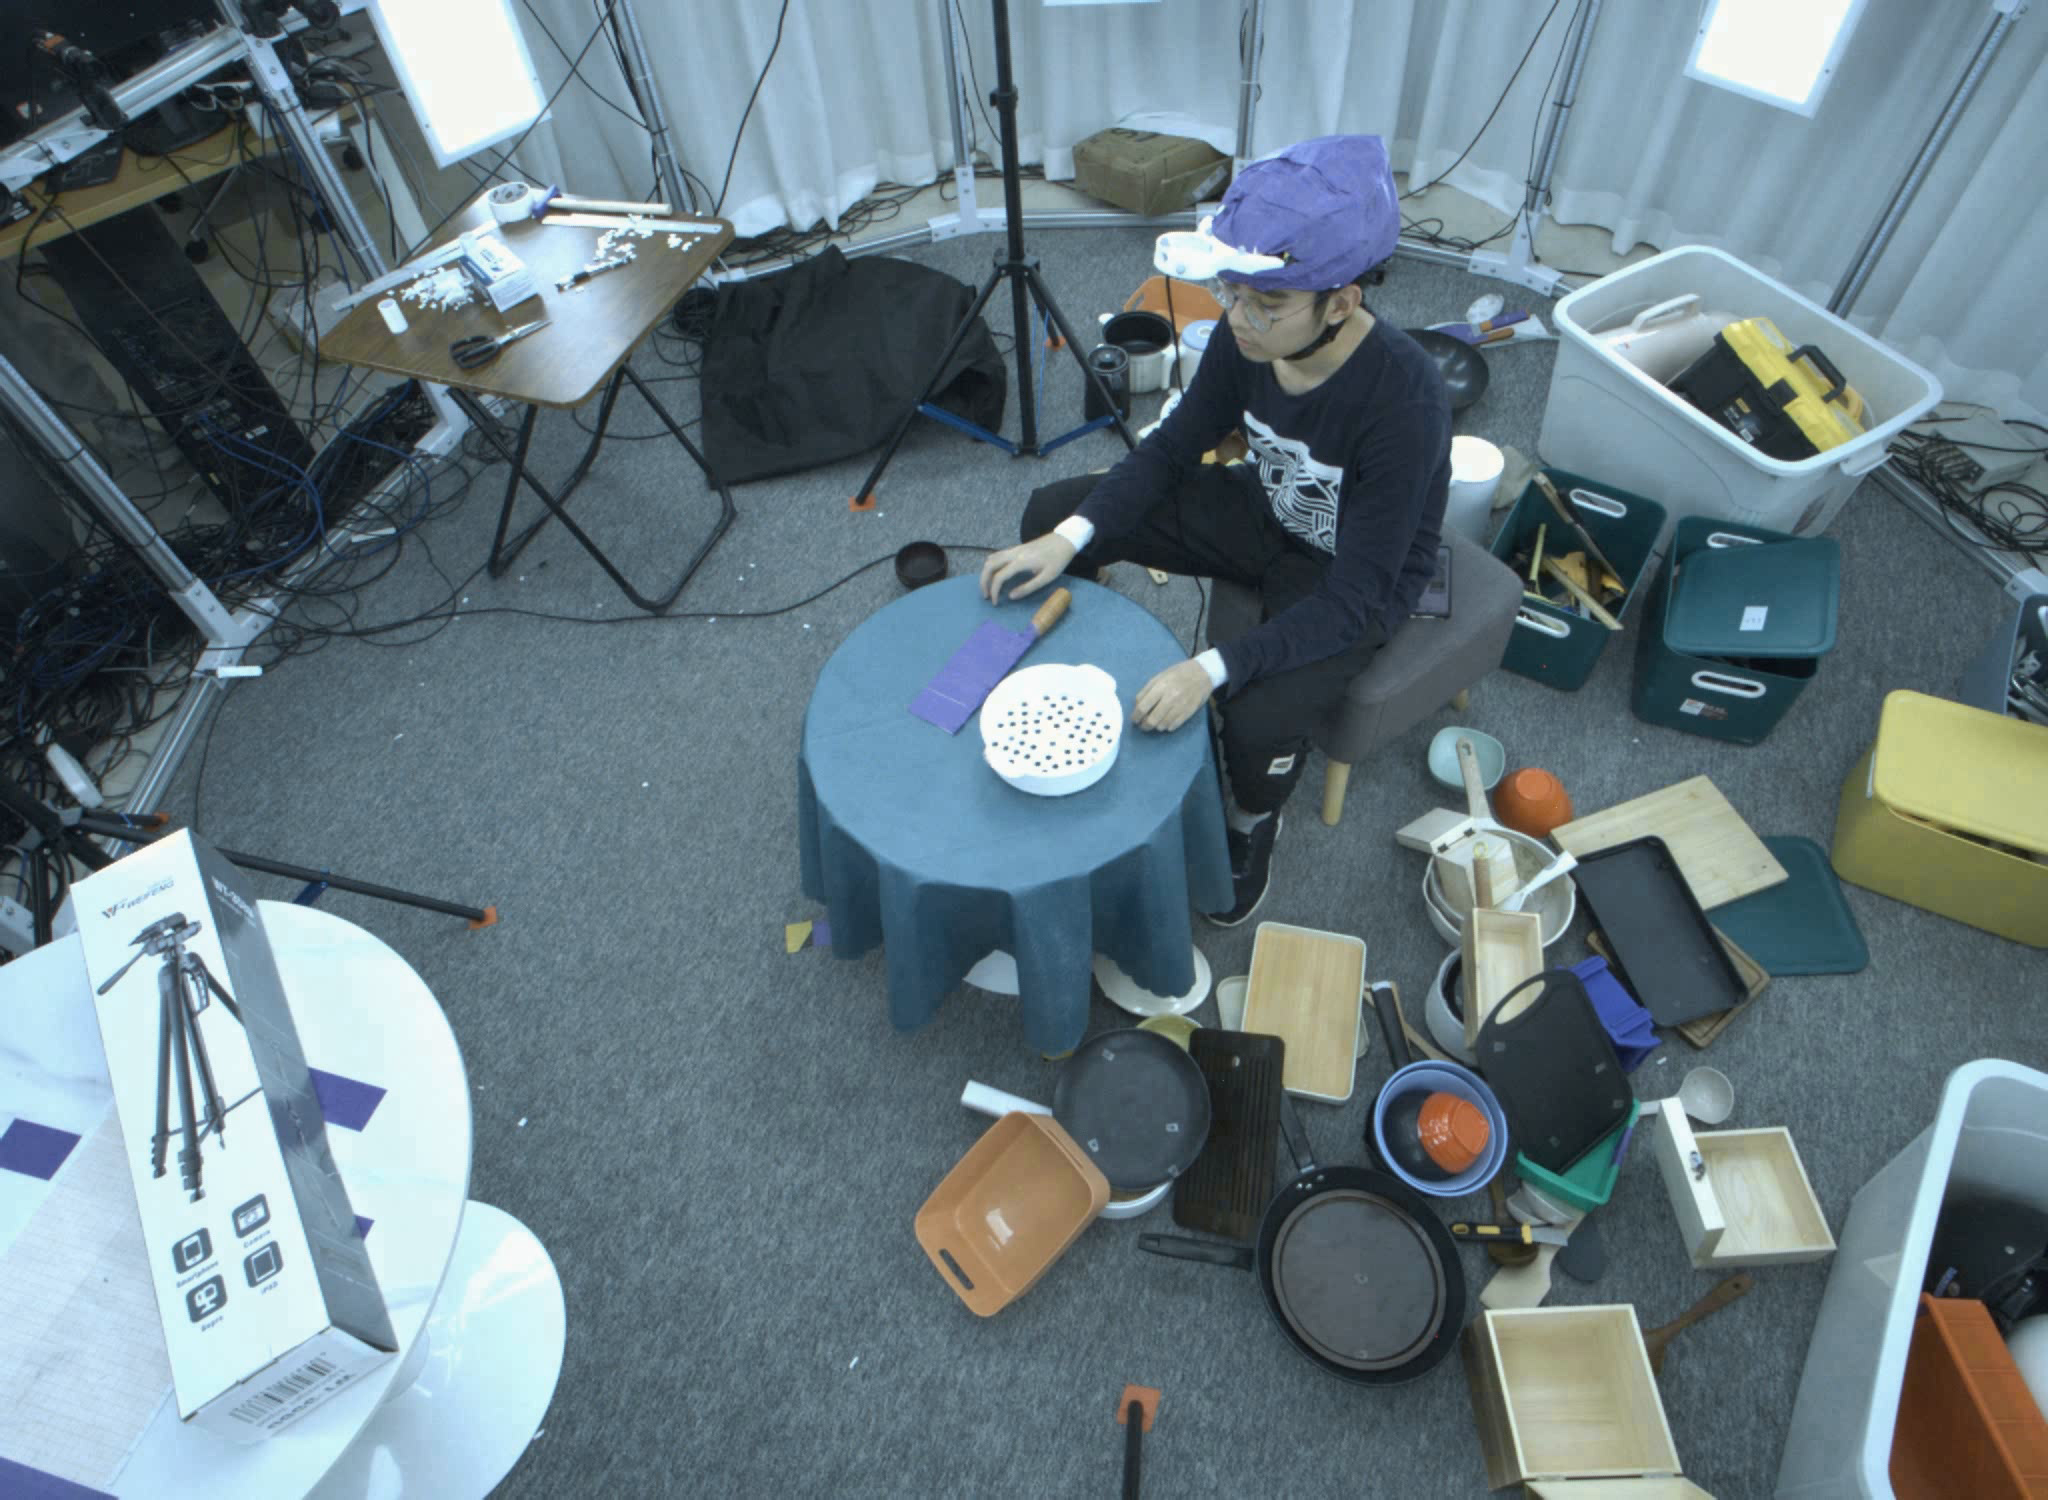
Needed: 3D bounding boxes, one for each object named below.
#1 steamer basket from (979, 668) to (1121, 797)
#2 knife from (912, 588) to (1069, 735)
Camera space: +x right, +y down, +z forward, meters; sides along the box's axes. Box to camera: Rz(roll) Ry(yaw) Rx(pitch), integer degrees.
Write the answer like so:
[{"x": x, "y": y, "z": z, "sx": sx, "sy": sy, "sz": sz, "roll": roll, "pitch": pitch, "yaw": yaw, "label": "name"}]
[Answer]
[{"x": 0.036, "y": -0.024, "z": 1.771, "sx": 0.198, "sy": 0.070, "sz": 0.232, "roll": 36, "pitch": 60, "yaw": 23, "label": "steamer basket"}, {"x": -0.052, "y": -0.152, "z": 1.889, "sx": 0.102, "sy": 0.032, "sz": 0.316, "roll": 28, "pitch": 60, "yaw": 20, "label": "knife"}]
